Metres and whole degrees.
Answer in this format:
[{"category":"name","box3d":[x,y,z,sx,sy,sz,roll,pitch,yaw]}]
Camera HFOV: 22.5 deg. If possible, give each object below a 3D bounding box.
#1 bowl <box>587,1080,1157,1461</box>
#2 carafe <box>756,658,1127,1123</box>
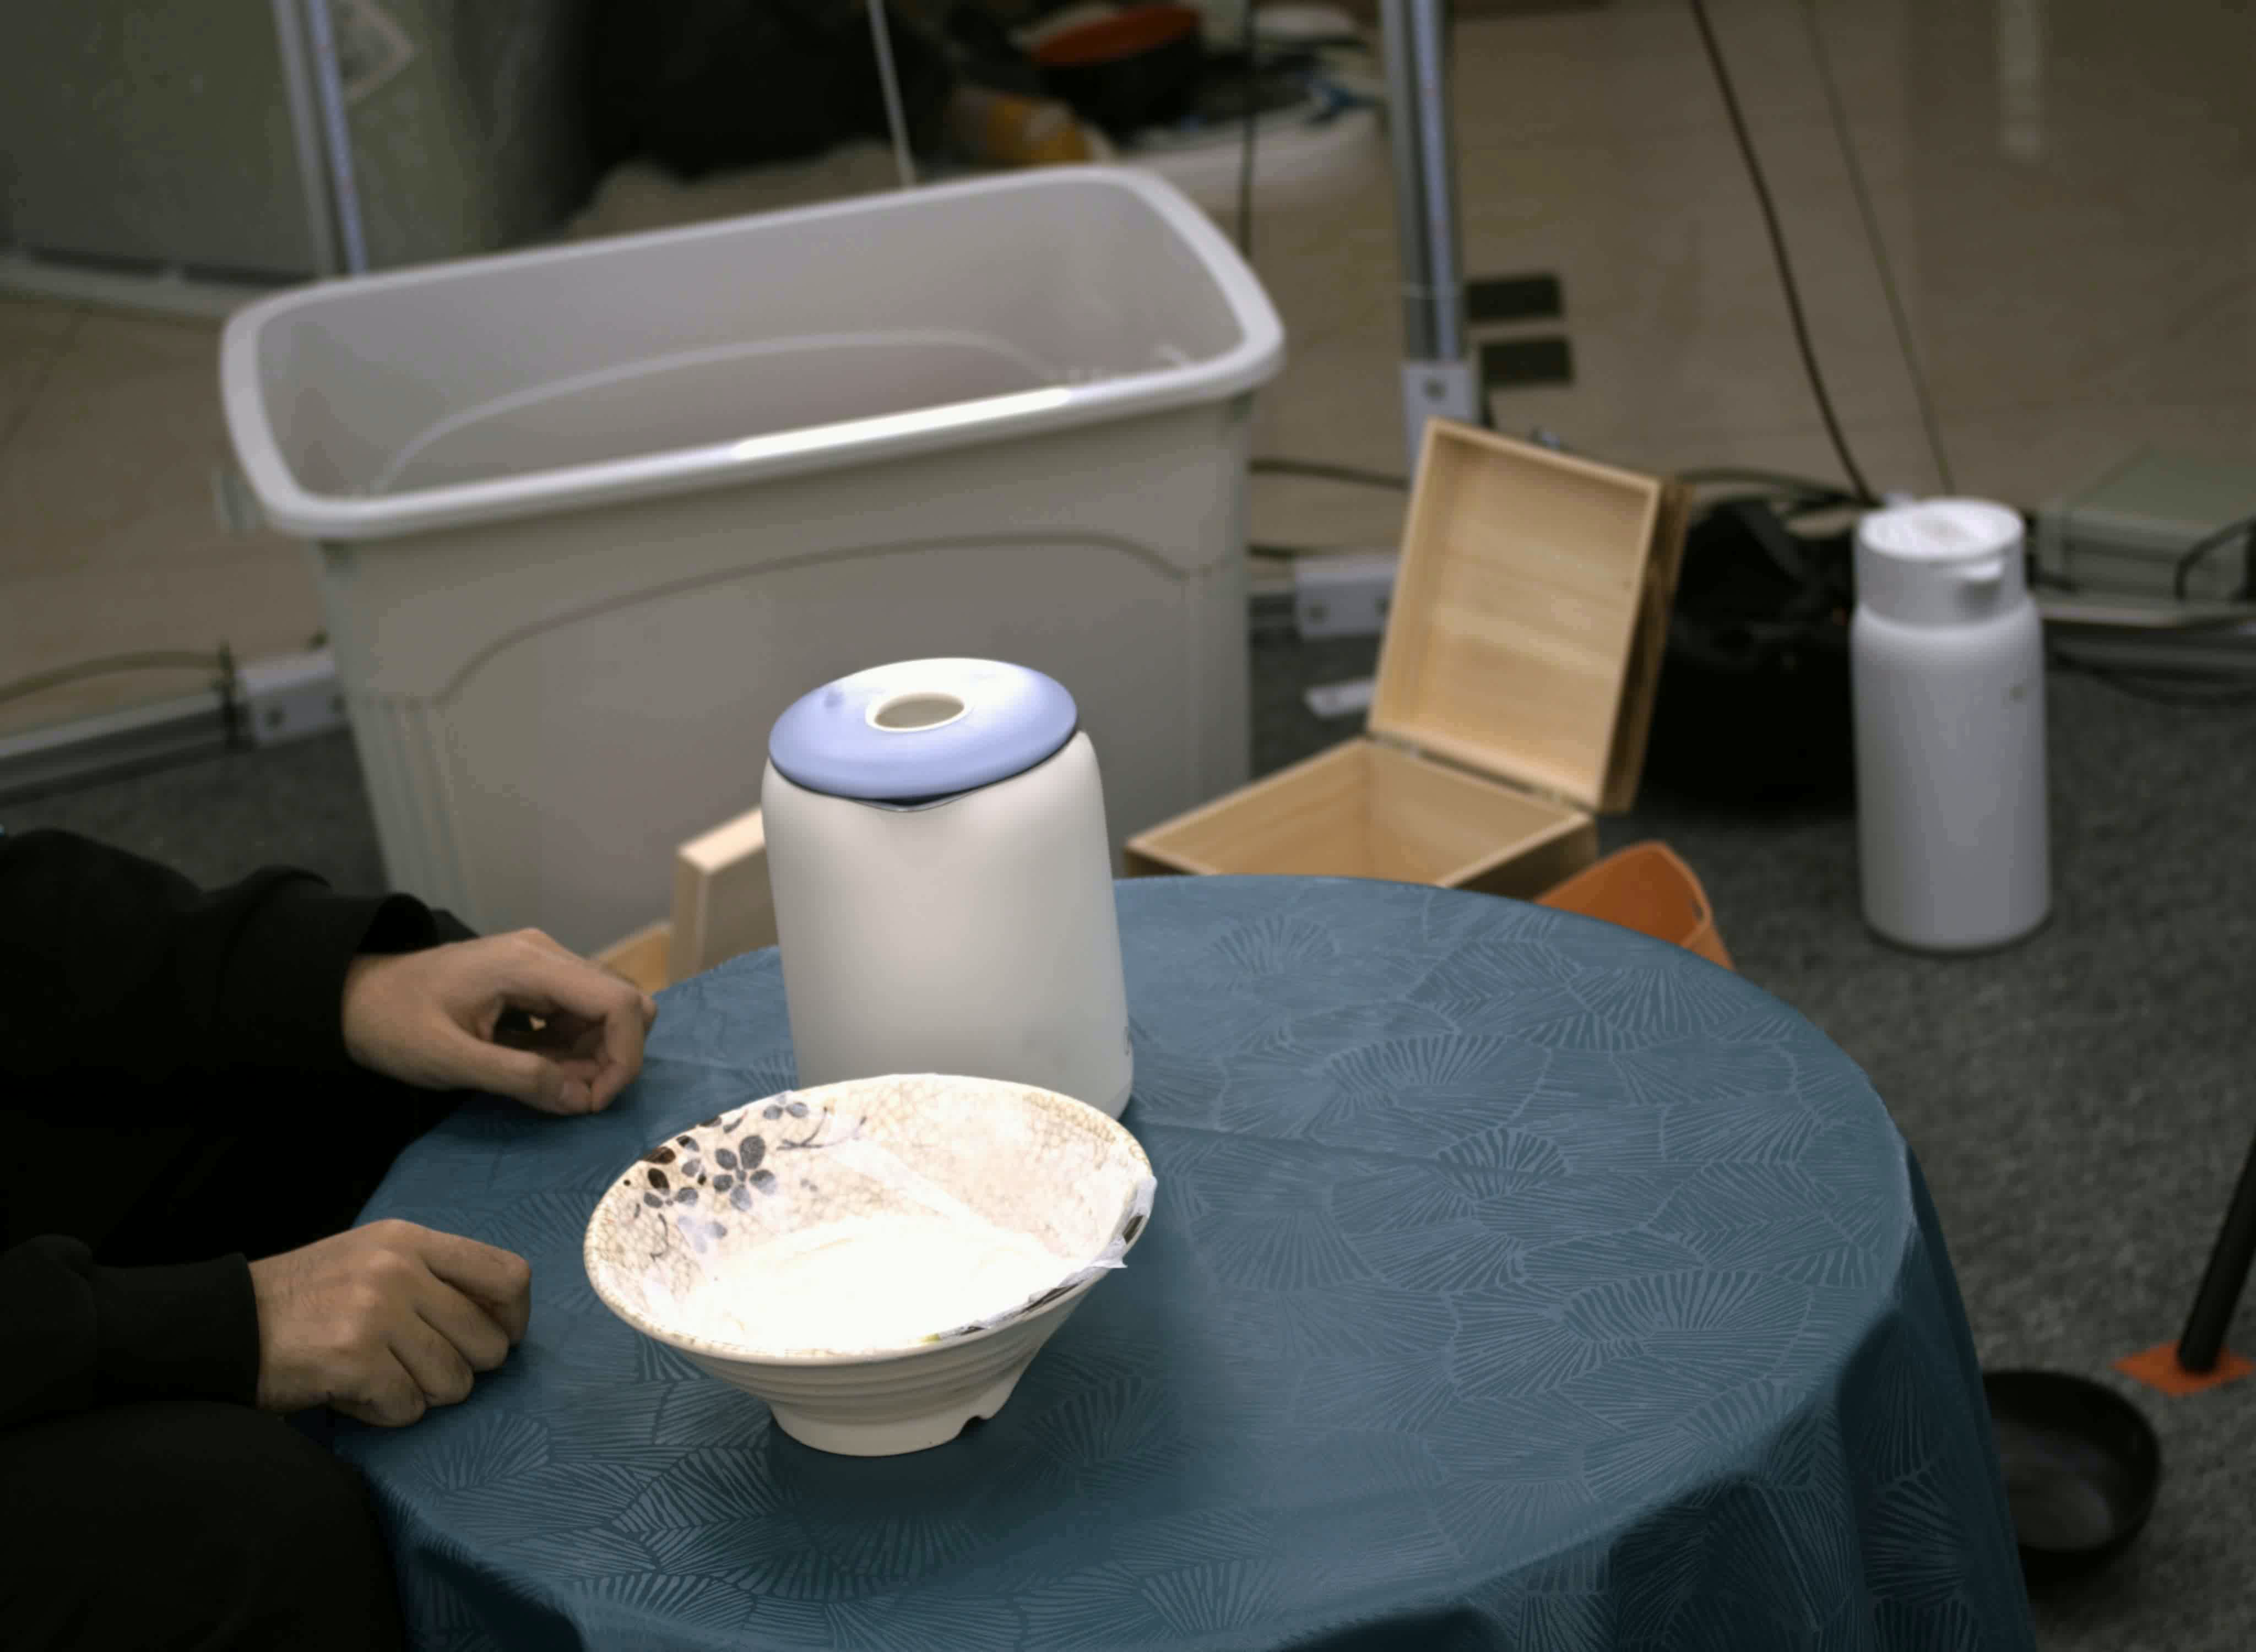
[{"category":"bowl","box3d":[-0.085,0.169,2.011,0.204,0.079,0.201,-8,24,4]},{"category":"carafe","box3d":[-0.072,0.027,2.198,0.132,0.185,0.188,-4,23,1]}]
